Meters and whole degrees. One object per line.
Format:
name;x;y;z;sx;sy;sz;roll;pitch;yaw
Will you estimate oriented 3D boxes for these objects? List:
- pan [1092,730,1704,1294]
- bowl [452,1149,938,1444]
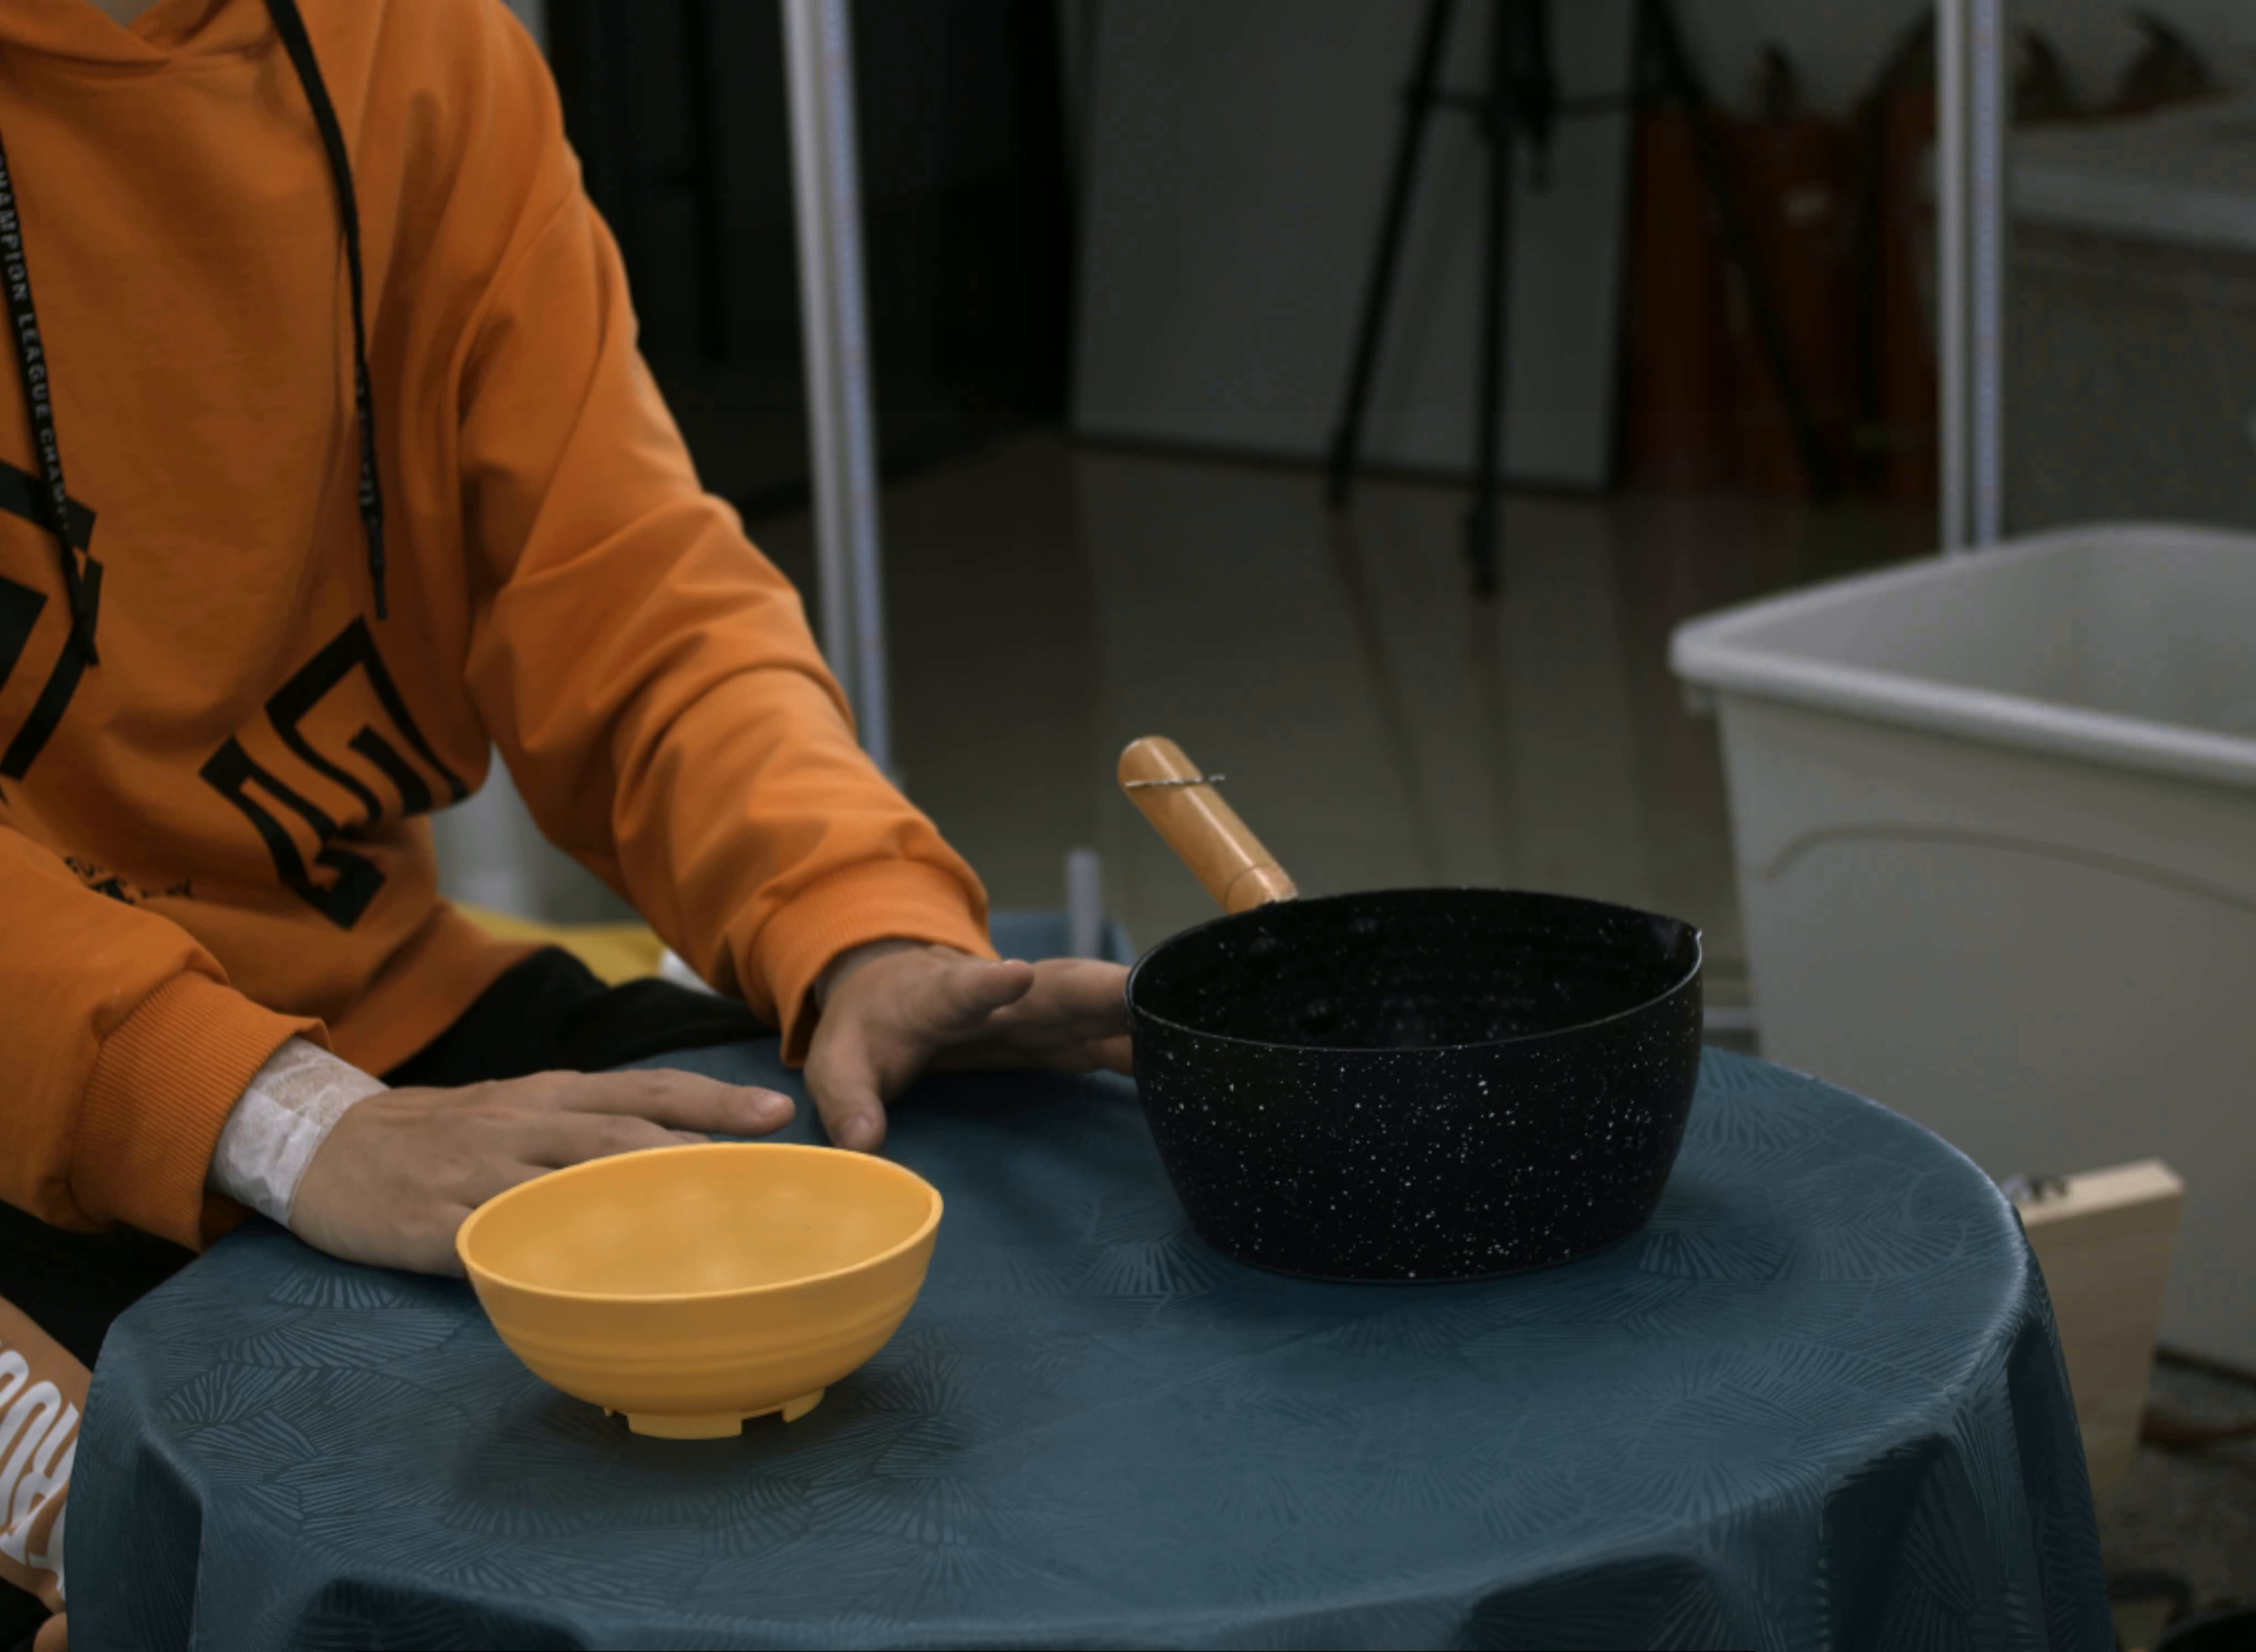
pan;0.065;0.056;1.789;0.203;0.109;0.346;-10;16;-18
bowl;-0.126;0.143;1.596;0.143;0.061;0.145;-3;13;0
